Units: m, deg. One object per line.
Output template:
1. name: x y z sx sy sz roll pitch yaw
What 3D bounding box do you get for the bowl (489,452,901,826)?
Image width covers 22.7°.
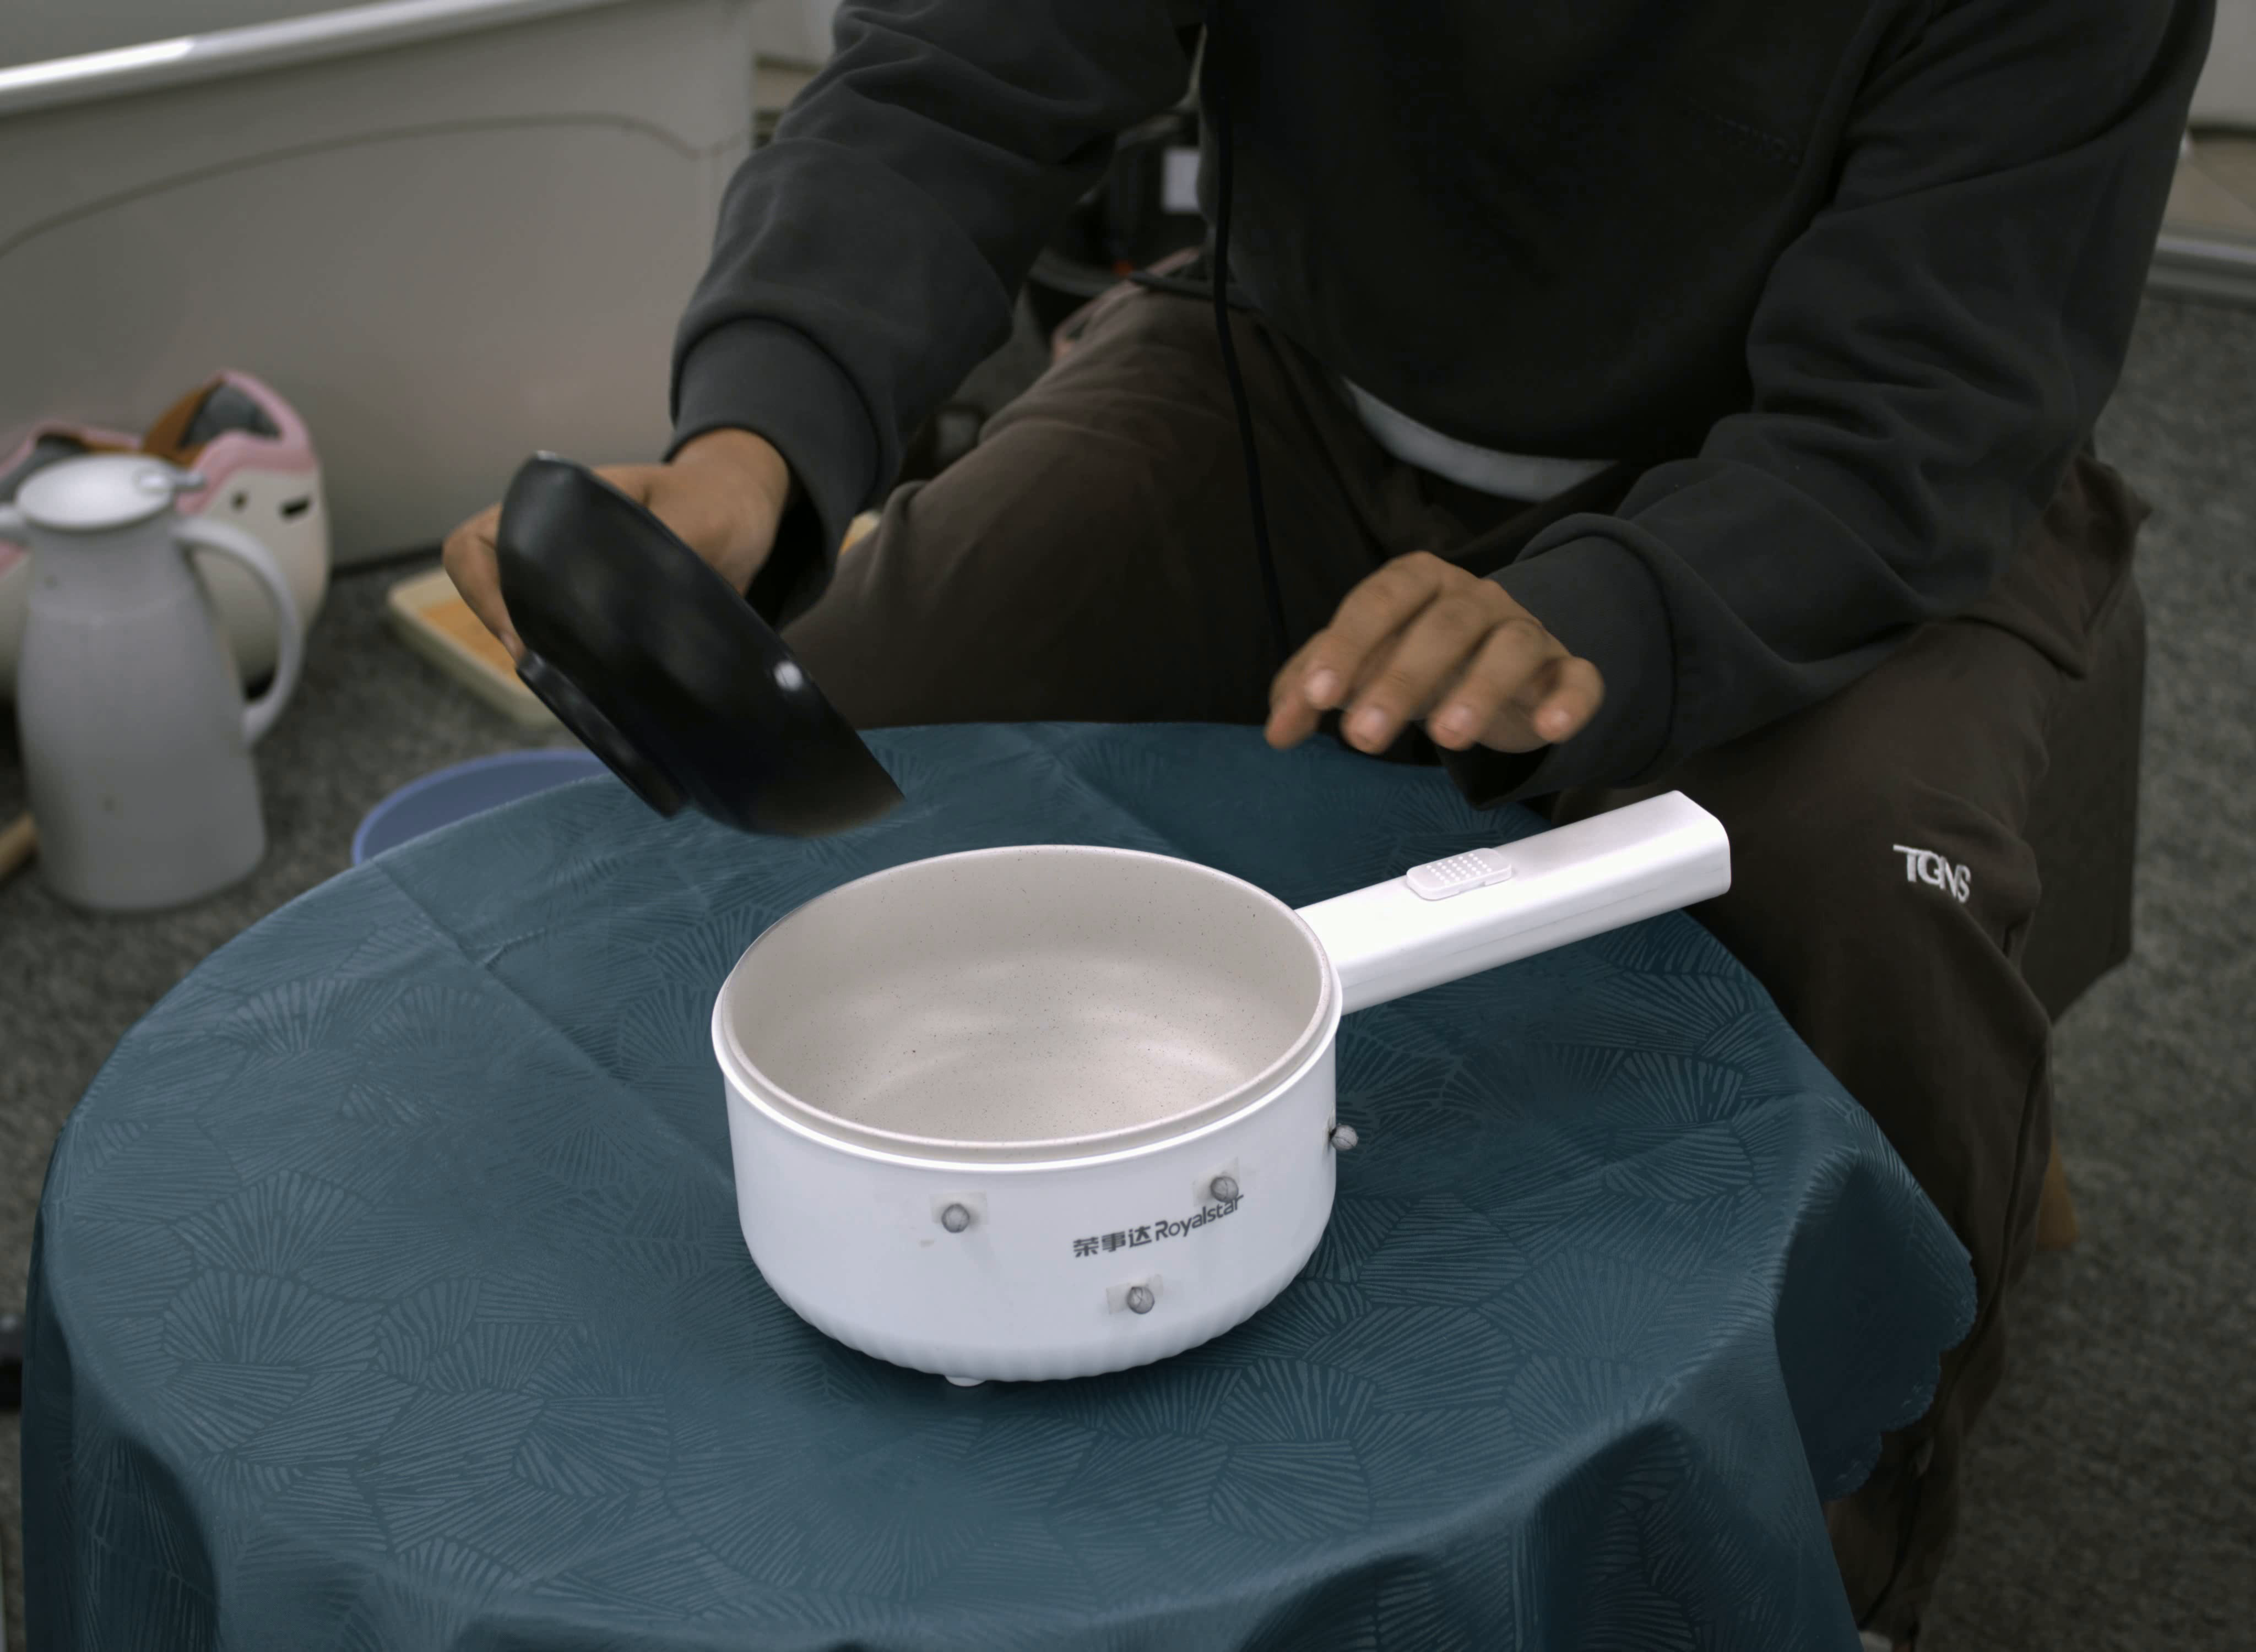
1. bowl: -0.151 -0.050 1.799 0.171 0.136 0.067 41 83 22

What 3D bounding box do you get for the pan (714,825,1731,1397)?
1. pan: 0.038 0.085 1.843 0.356 0.101 0.202 -14 25 -25
